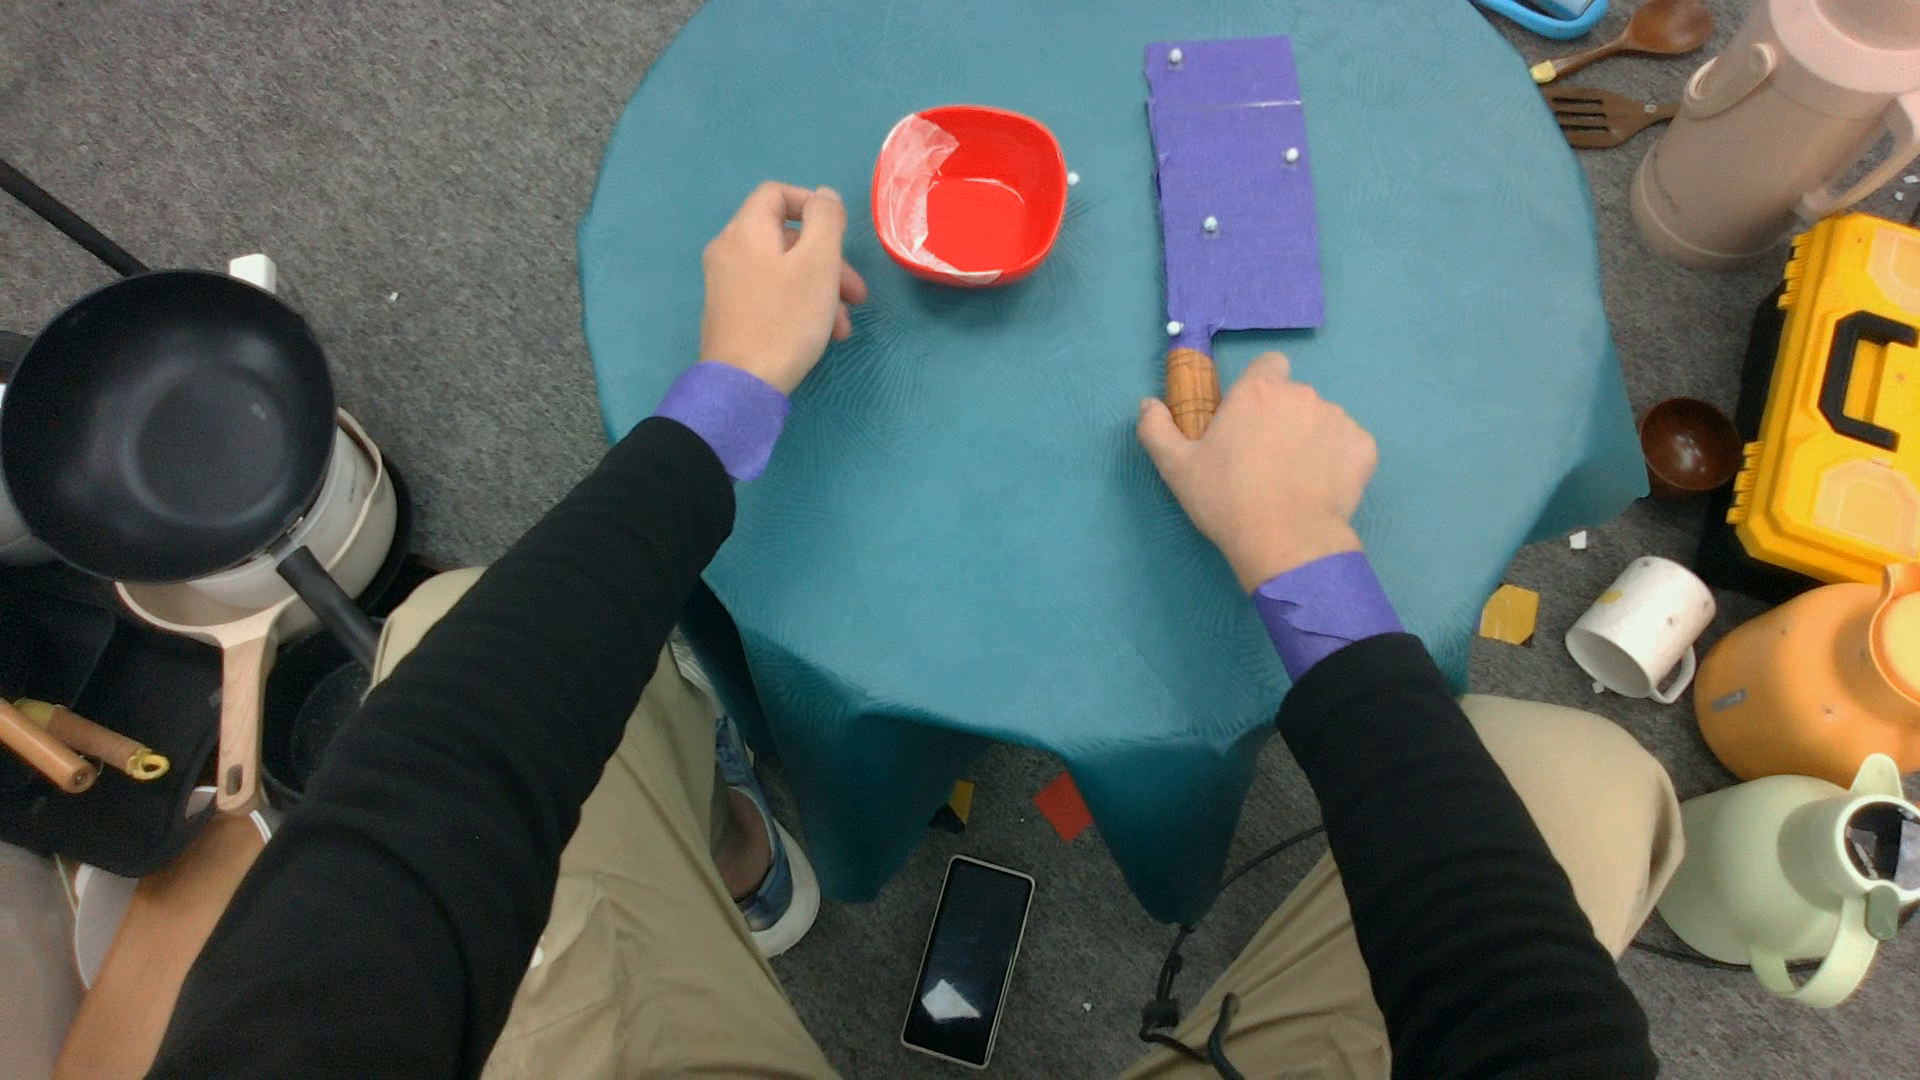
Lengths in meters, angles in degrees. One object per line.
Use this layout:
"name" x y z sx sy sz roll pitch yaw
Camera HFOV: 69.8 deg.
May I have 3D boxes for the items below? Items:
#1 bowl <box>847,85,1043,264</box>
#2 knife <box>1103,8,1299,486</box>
"bowl" -0.009 -0.202 0.795 0.119 0.051 0.119 0 69 -1
"knife" 0.147 -0.183 0.803 0.104 0.032 0.316 -3 71 0
